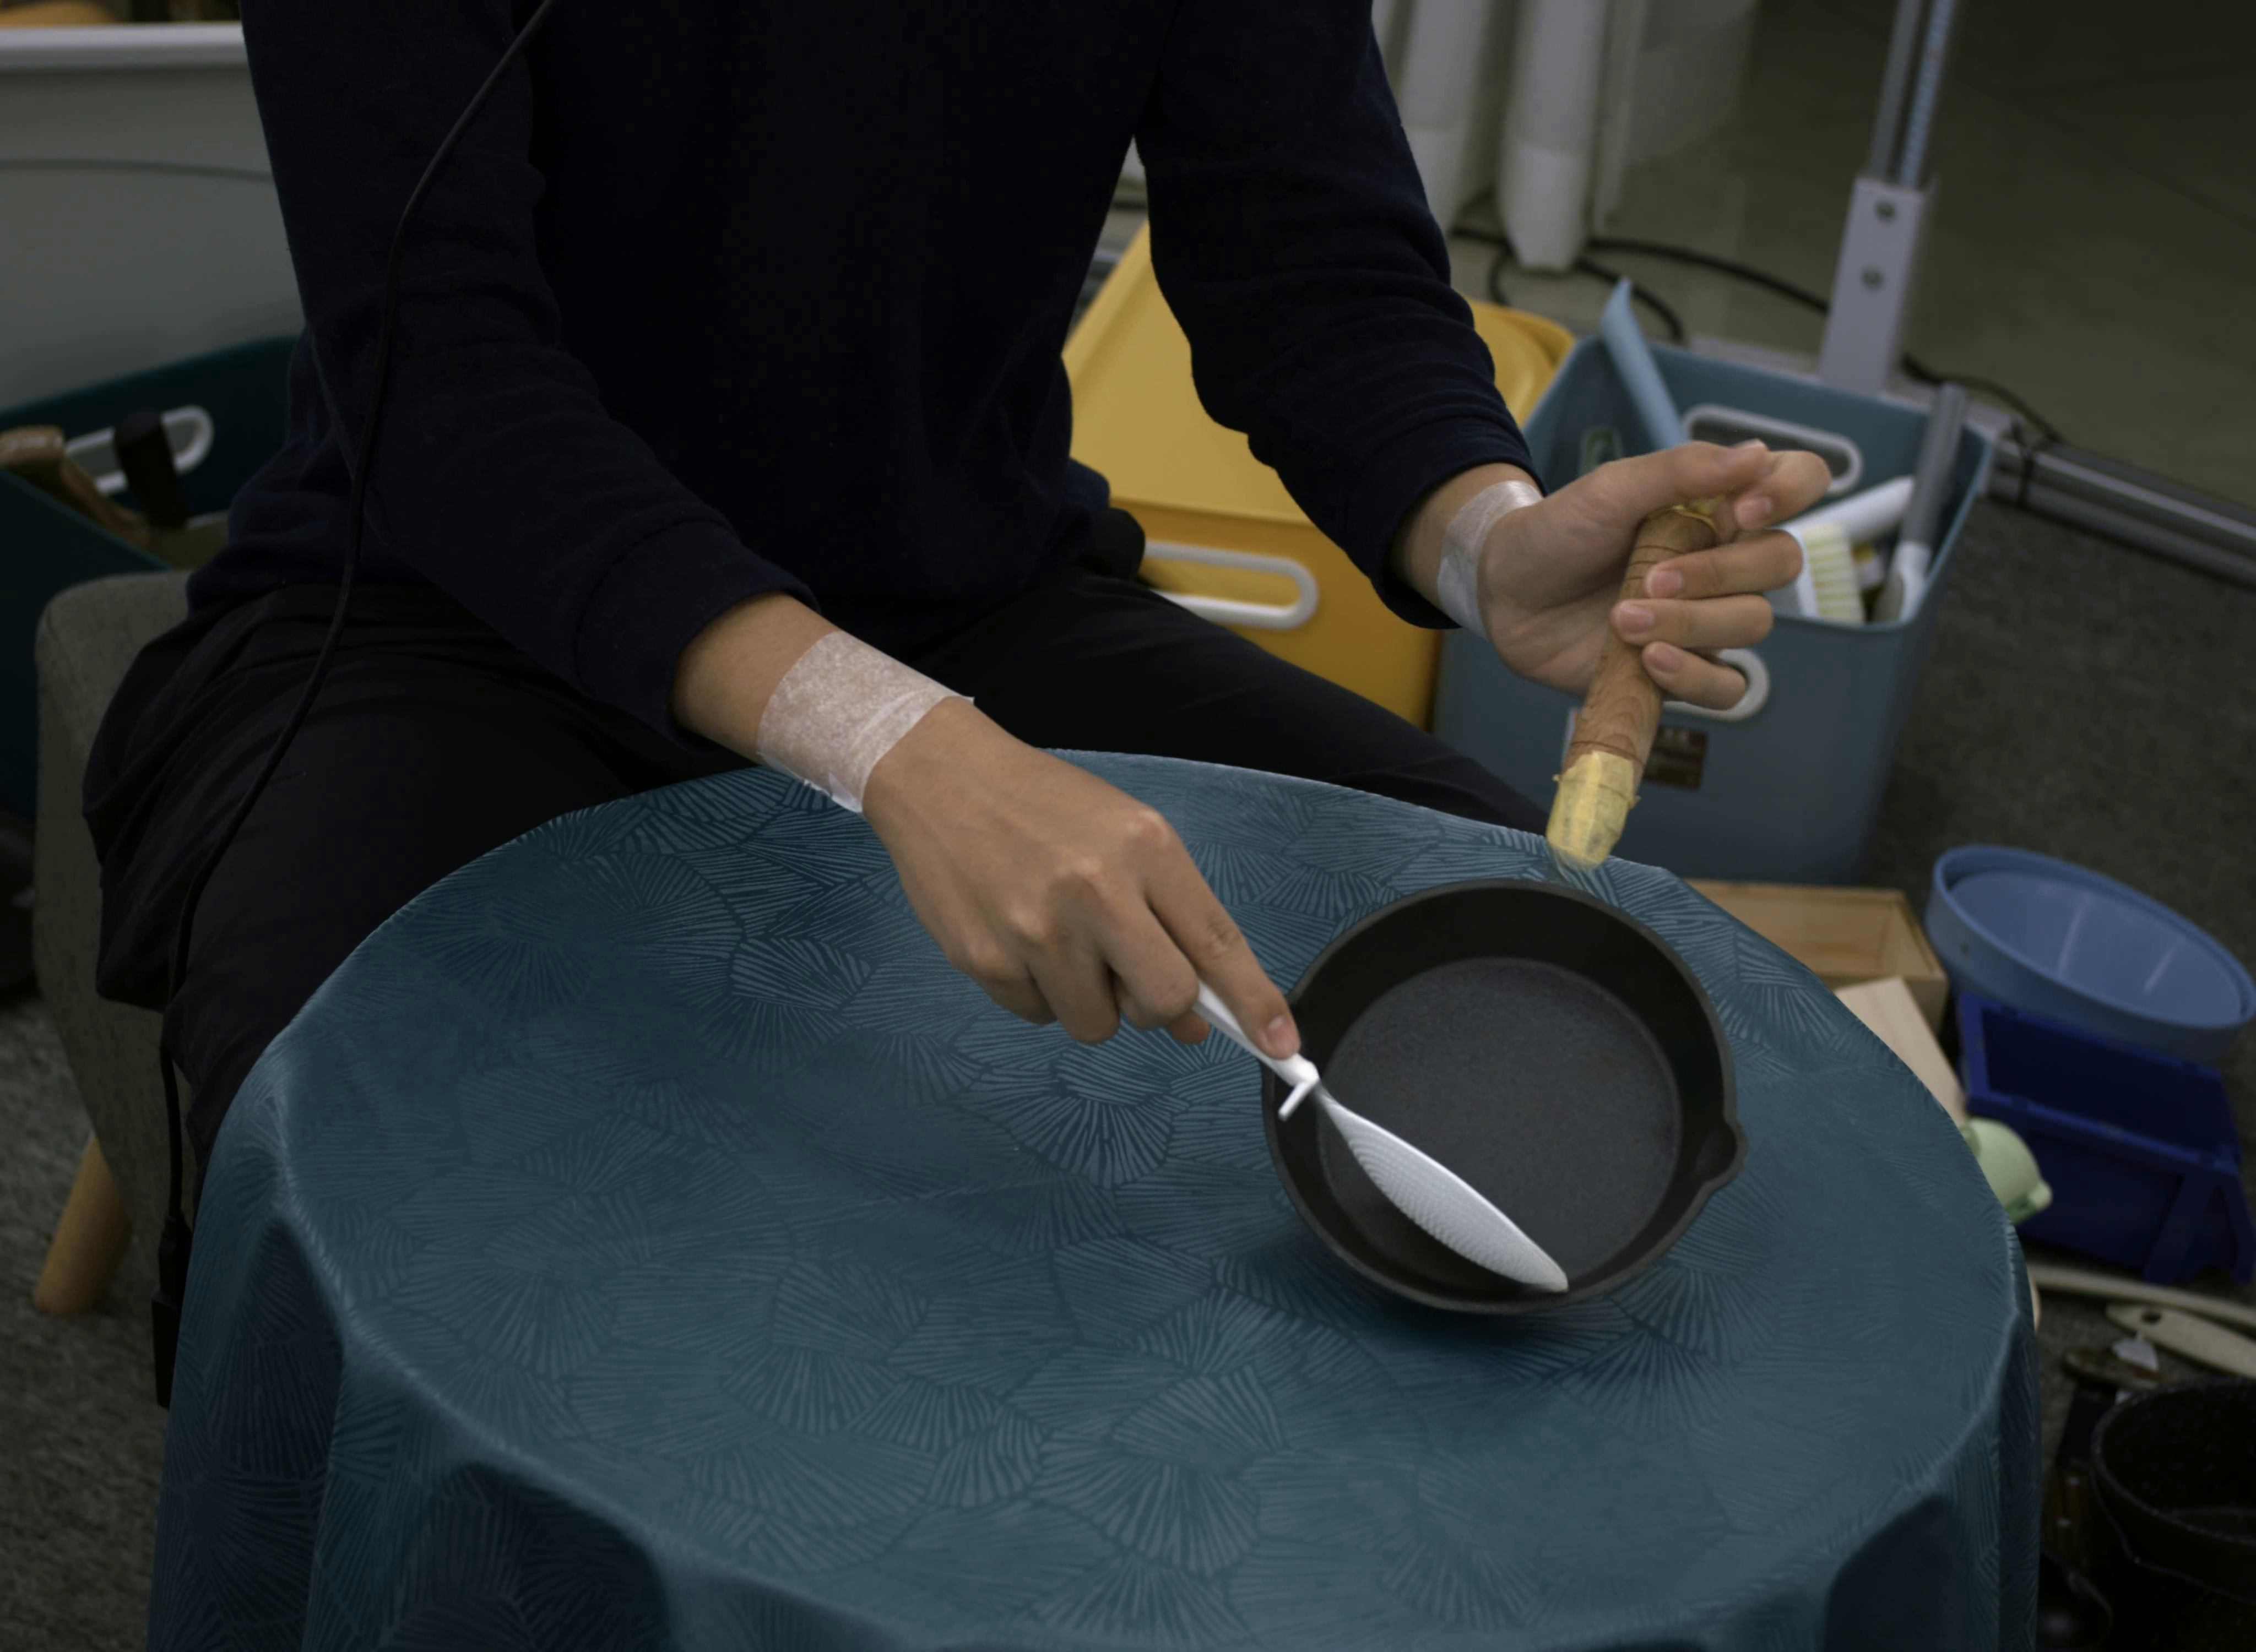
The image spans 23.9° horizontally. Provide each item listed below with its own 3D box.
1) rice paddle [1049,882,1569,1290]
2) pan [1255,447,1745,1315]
[{"bbox_3d":[0.064,0.089,1.752,0.206,0.029,0.068,36,-8,10],"label":"rice paddle"},{"bbox_3d":[0.151,0.018,1.802,0.169,0.049,0.325,16,68,12],"label":"pan"}]
